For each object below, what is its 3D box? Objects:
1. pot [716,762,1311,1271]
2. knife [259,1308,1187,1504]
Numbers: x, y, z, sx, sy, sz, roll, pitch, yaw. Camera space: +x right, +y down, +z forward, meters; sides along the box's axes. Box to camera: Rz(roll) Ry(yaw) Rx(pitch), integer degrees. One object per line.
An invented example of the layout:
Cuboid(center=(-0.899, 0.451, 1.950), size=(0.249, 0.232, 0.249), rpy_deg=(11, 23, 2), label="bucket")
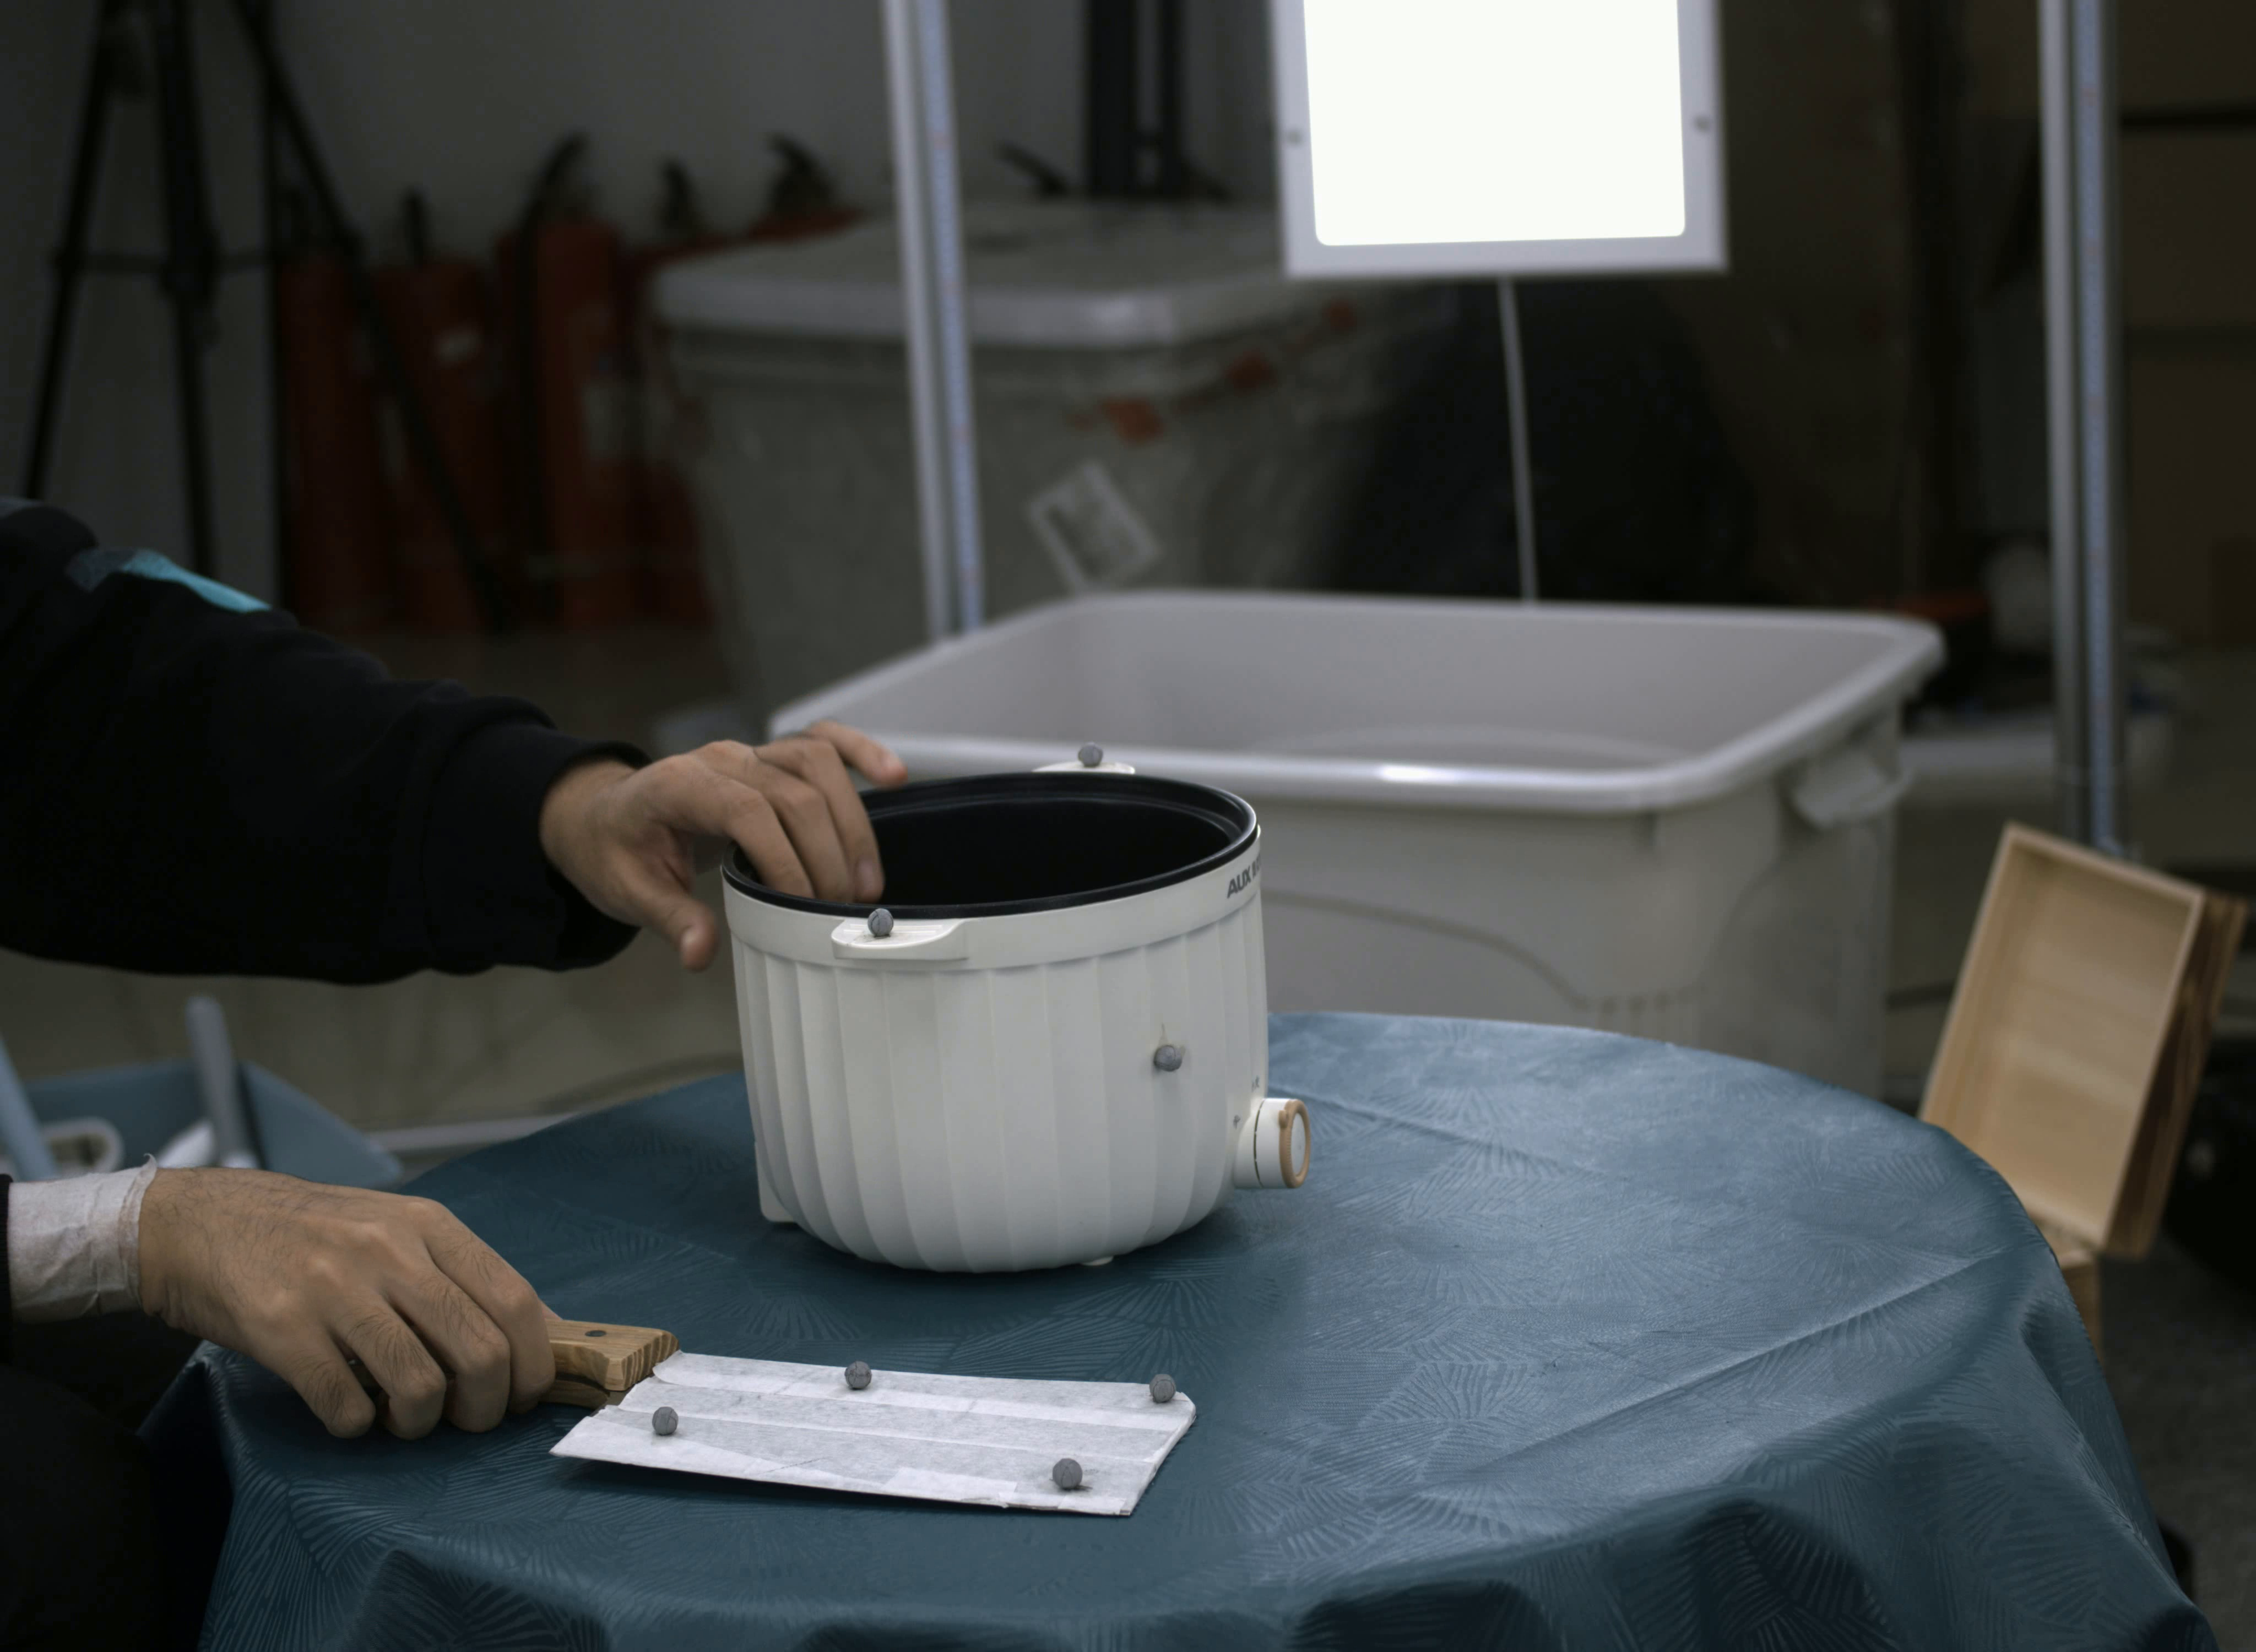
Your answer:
Cuboid(center=(-0.037, 0.067, 1.861), size=(0.193, 0.143, 0.236), rpy_deg=(-3, 15, 19), label="pot")
Cuboid(center=(-0.128, 0.177, 1.701), size=(0.320, 0.022, 0.111), rpy_deg=(4, 17, 24), label="knife")
